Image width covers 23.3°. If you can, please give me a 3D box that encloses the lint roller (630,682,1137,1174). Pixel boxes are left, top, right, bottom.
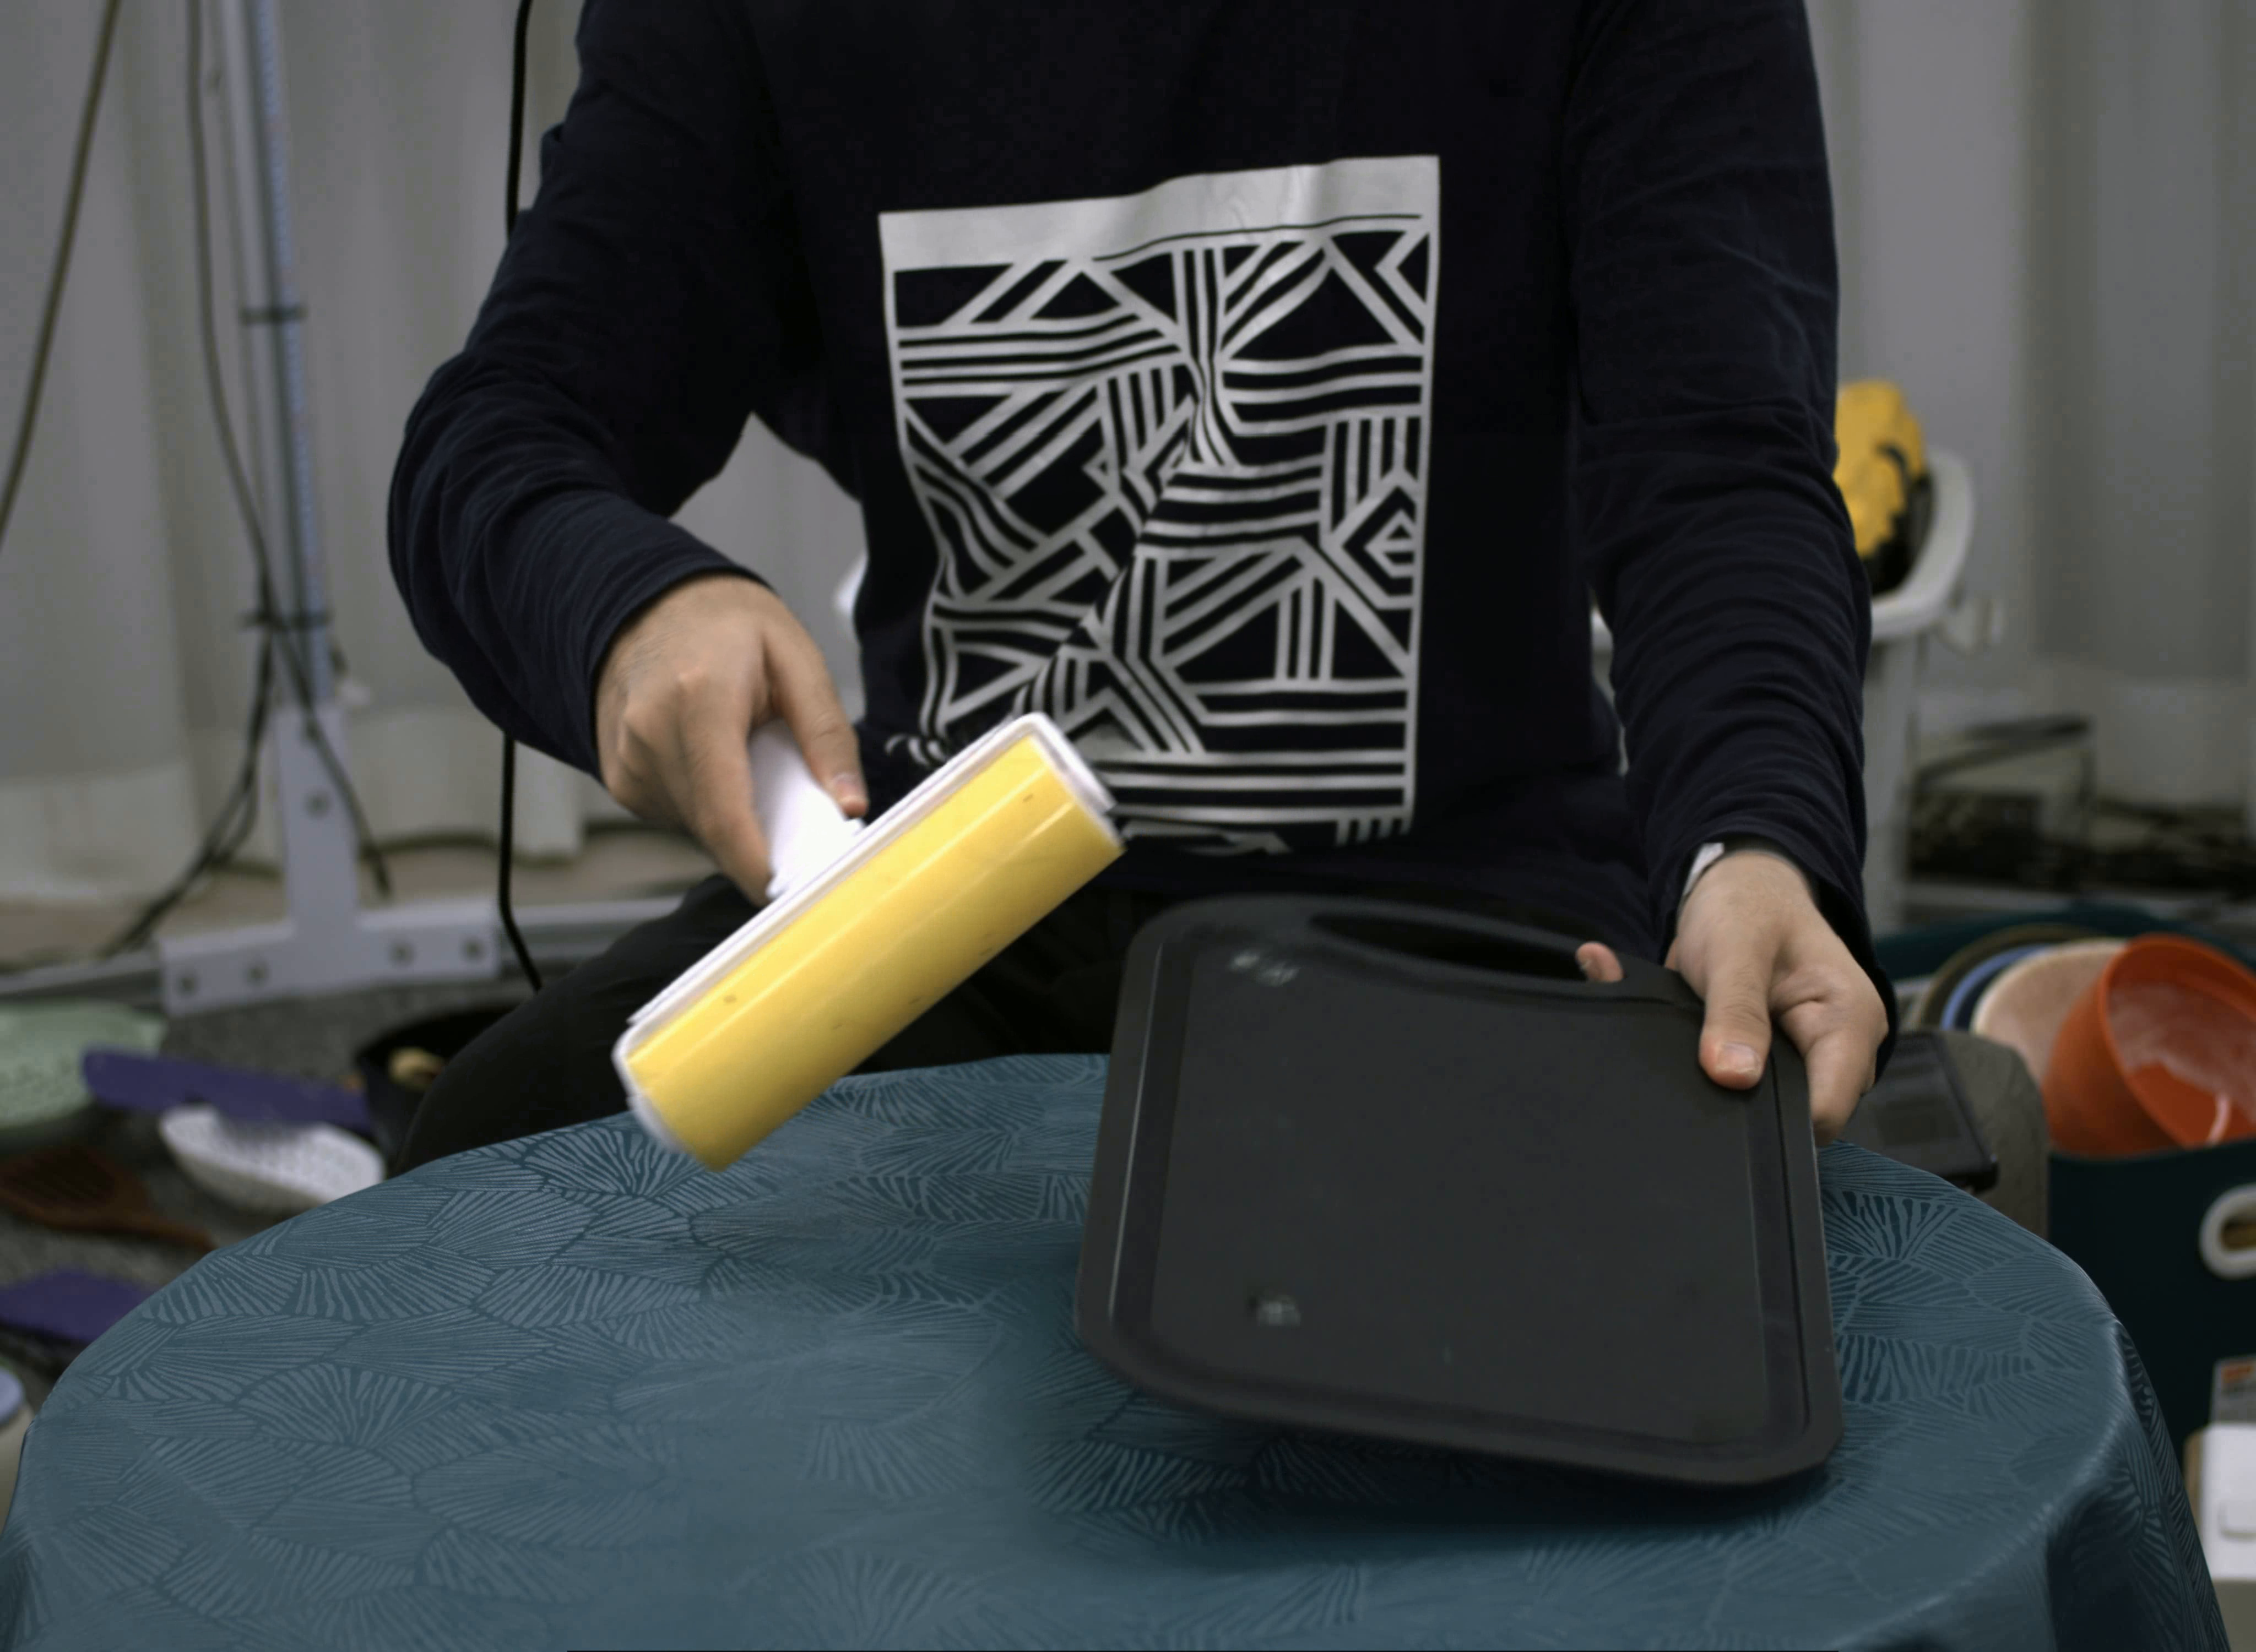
[{"bbox_3d":[-0.105,0.000,1.733,0.174,0.051,0.195,-40,45,0],"label":"lint roller"}]

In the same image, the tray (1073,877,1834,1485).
[{"bbox_3d":[0.096,0.090,1.572,0.210,0.010,0.328,11,25,0],"label":"tray"}]
